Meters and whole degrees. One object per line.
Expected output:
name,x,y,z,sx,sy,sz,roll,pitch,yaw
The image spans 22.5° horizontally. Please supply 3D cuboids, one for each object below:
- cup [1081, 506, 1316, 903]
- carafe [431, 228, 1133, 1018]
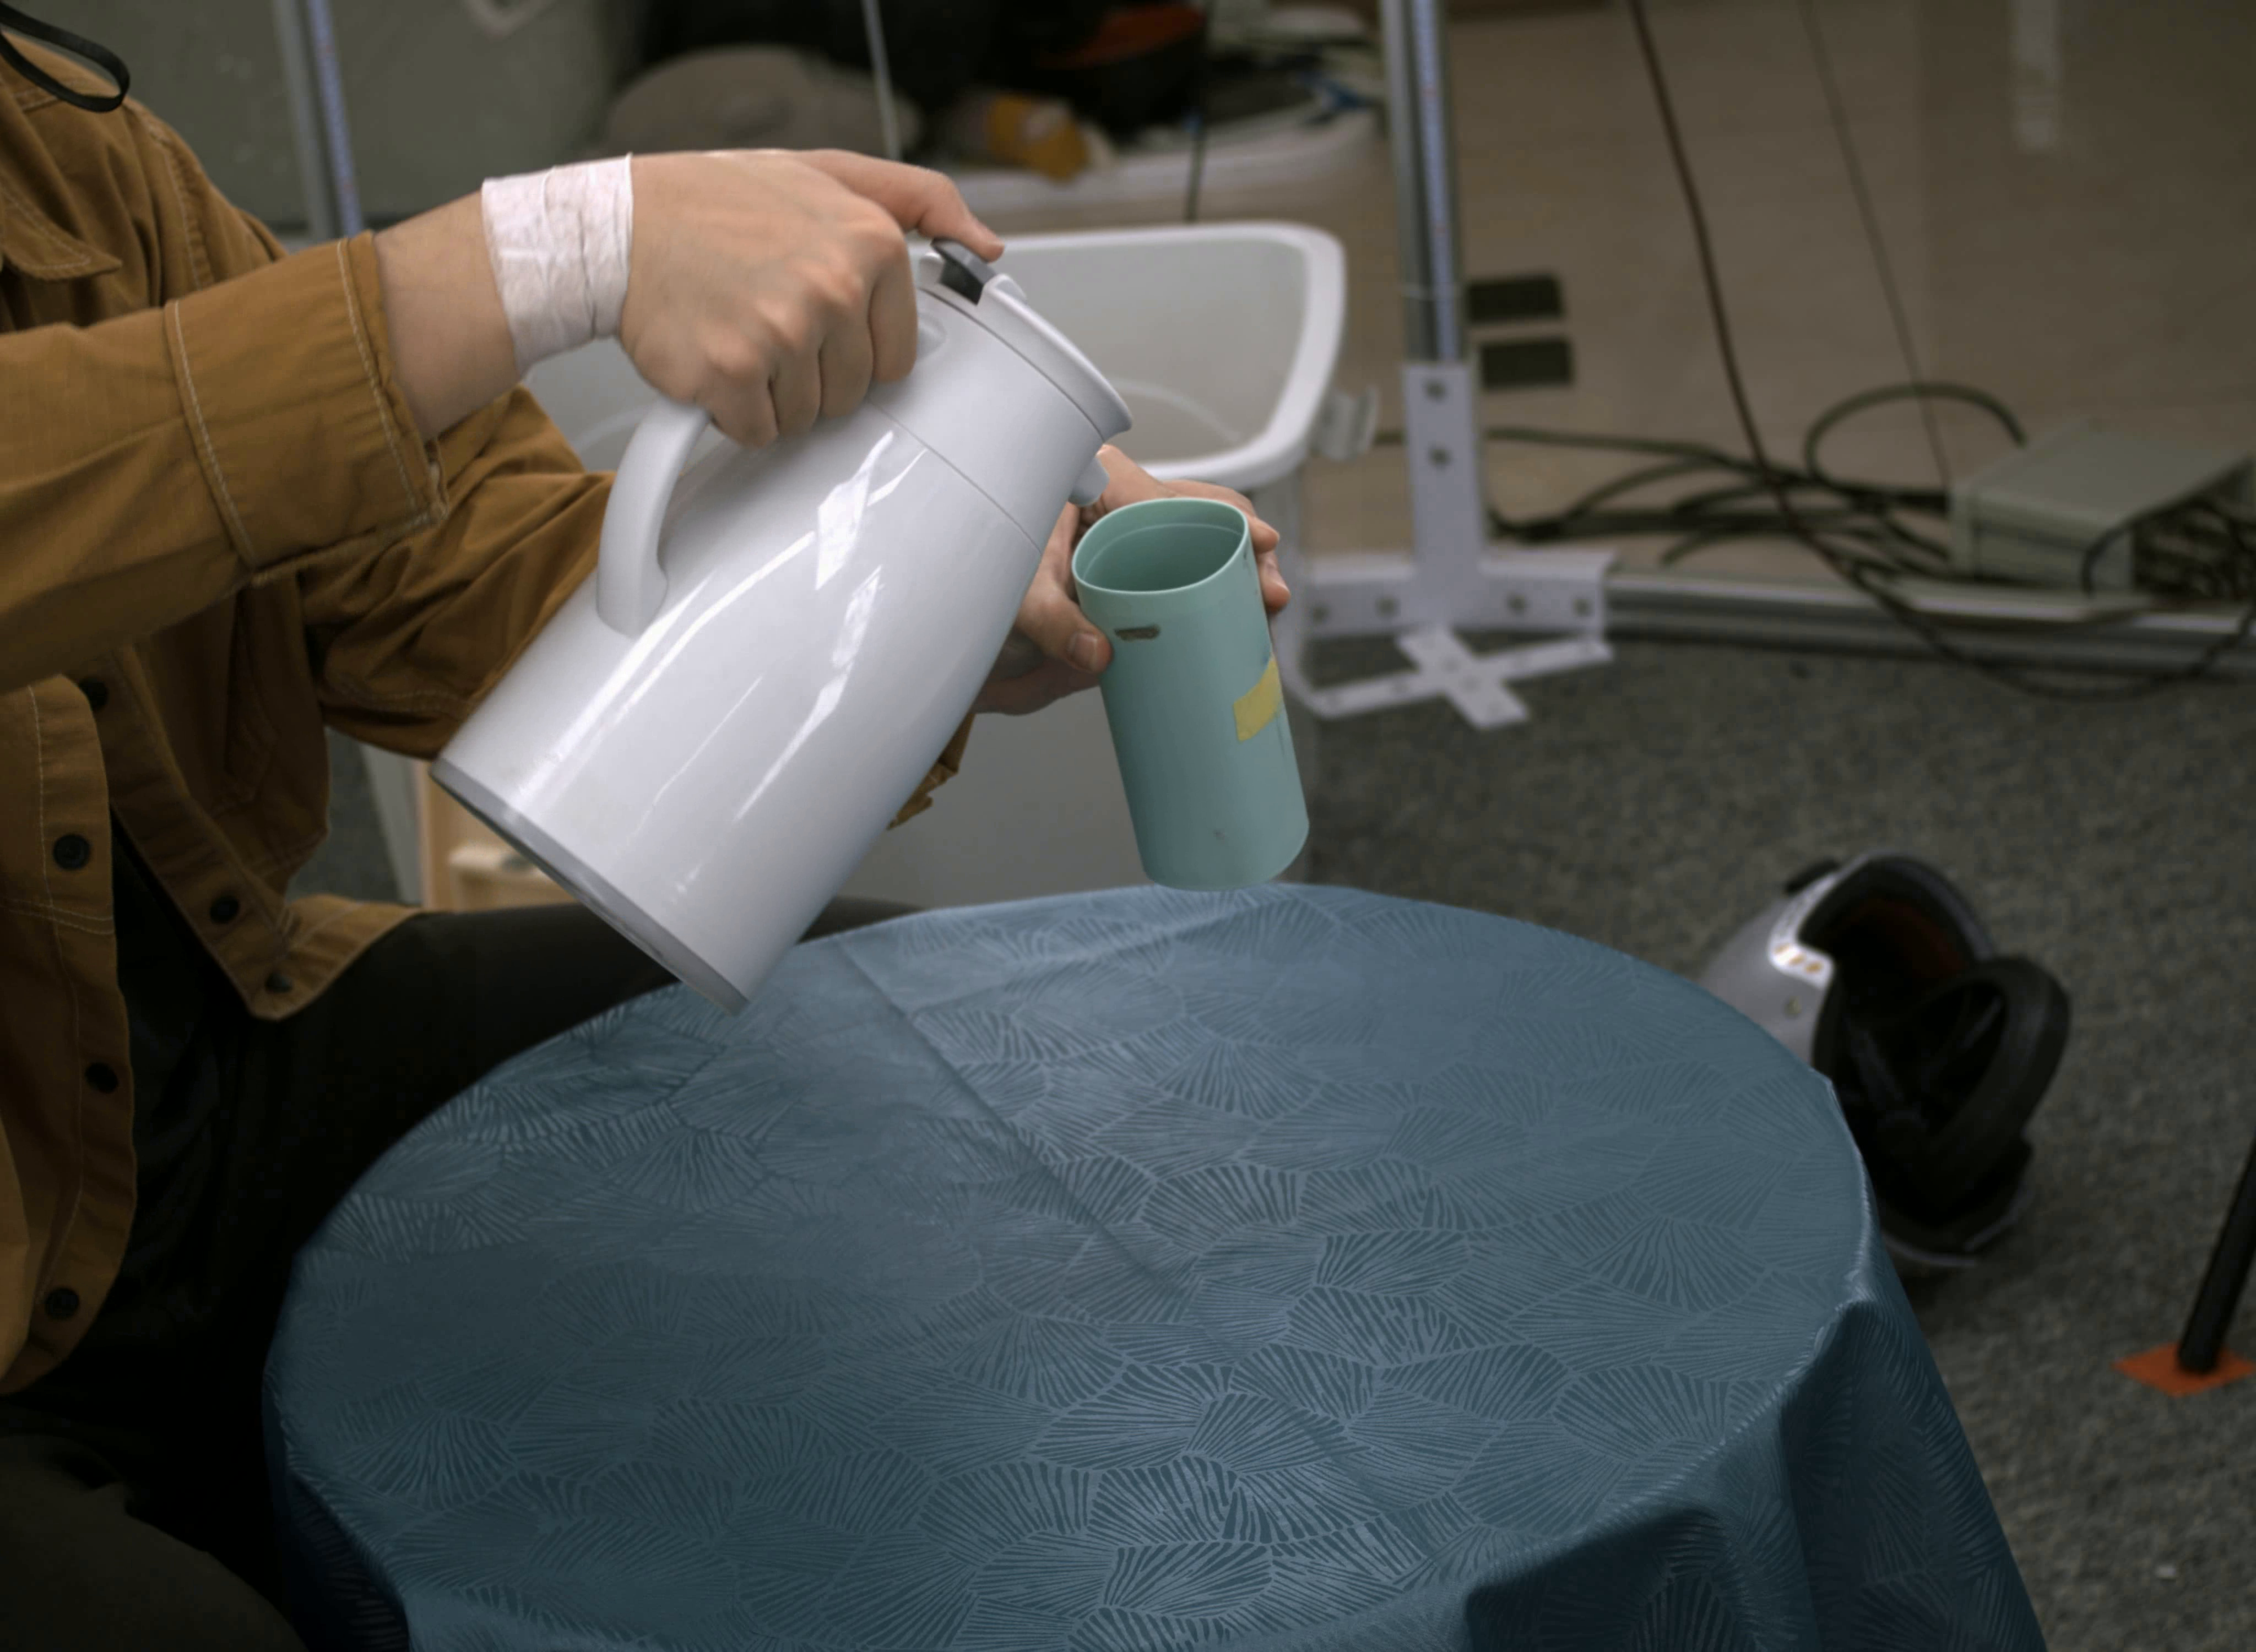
cup,0.025,-0.044,2.038,0.066,0.135,0.065,-8,35,6
carafe,-0.114,-0.081,1.881,0.248,0.170,0.131,-52,48,-4
